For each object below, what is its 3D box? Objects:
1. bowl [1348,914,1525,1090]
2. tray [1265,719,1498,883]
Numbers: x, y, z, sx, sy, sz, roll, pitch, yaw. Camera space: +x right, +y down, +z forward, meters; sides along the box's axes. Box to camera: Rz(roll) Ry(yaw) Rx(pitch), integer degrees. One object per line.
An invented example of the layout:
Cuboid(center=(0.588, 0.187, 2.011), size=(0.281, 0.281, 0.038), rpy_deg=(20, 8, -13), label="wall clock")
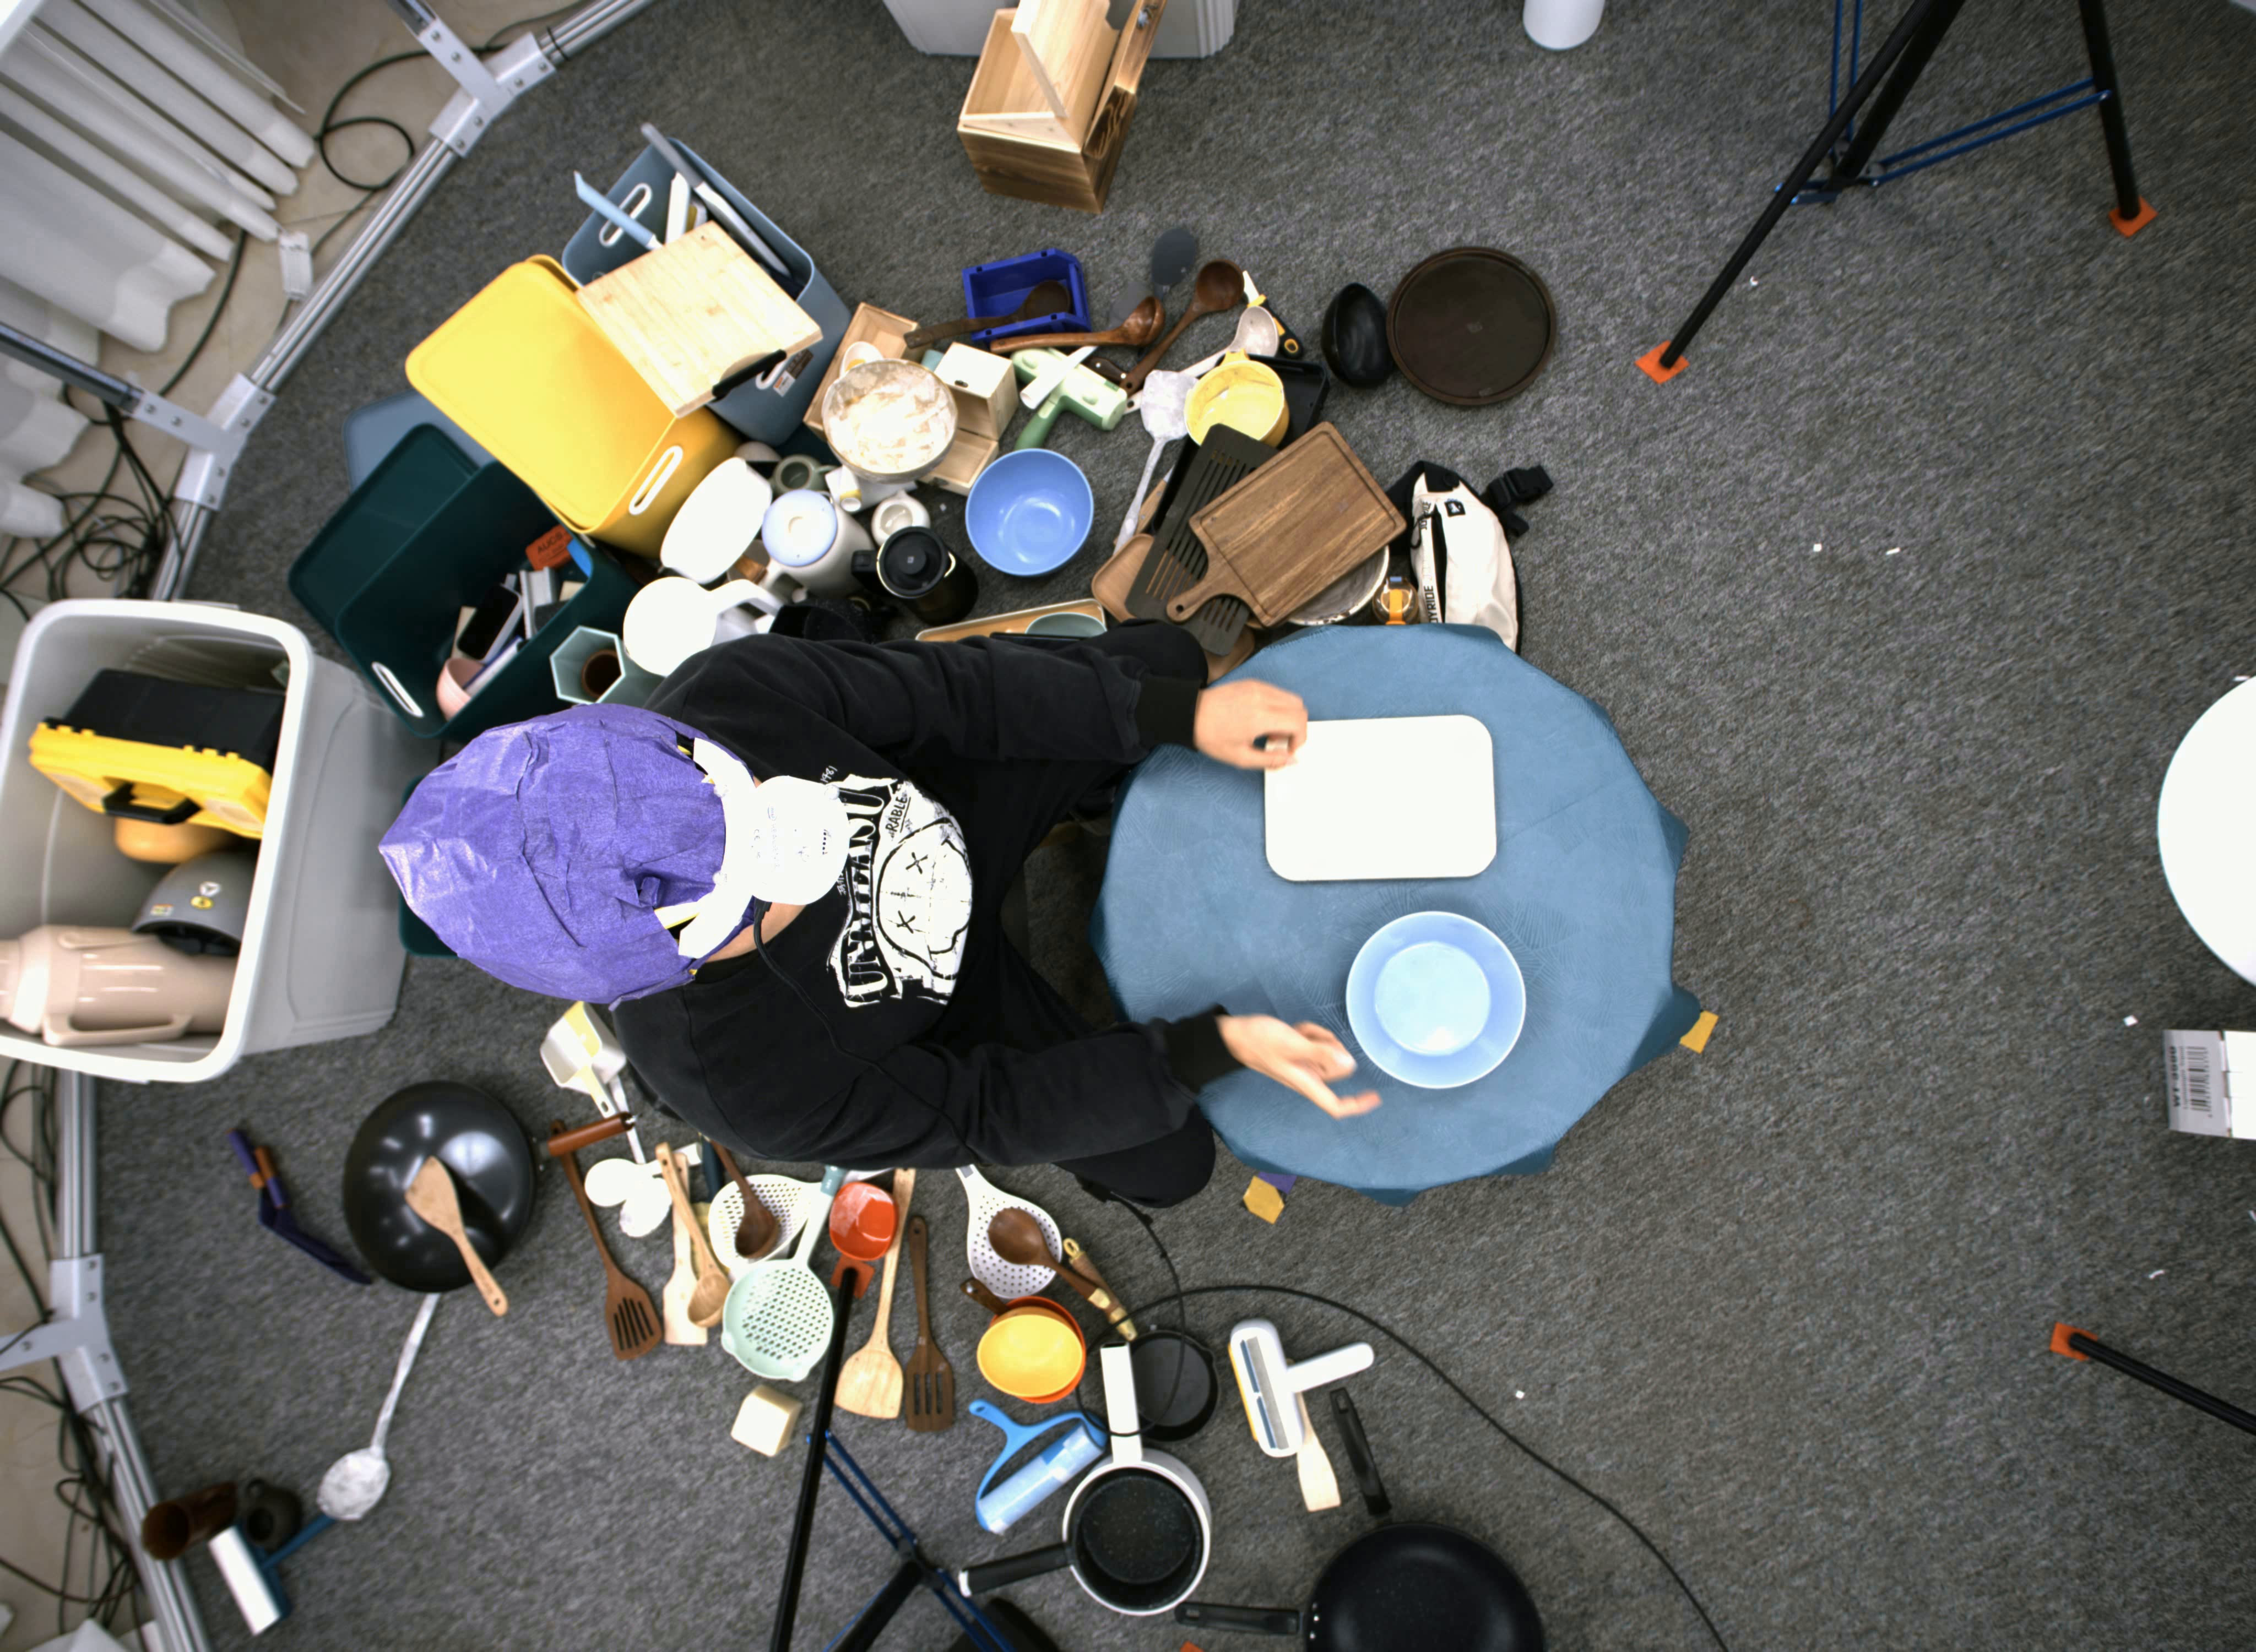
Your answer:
Cuboid(center=(0.313, 0.178, 1.413), size=(0.177, 0.070, 0.175), rpy_deg=(-1, 85, 9), label="bowl")
Cuboid(center=(0.267, -0.027, 1.463), size=(0.240, 0.017, 0.170), rpy_deg=(-2, 85, 10), label="tray")
